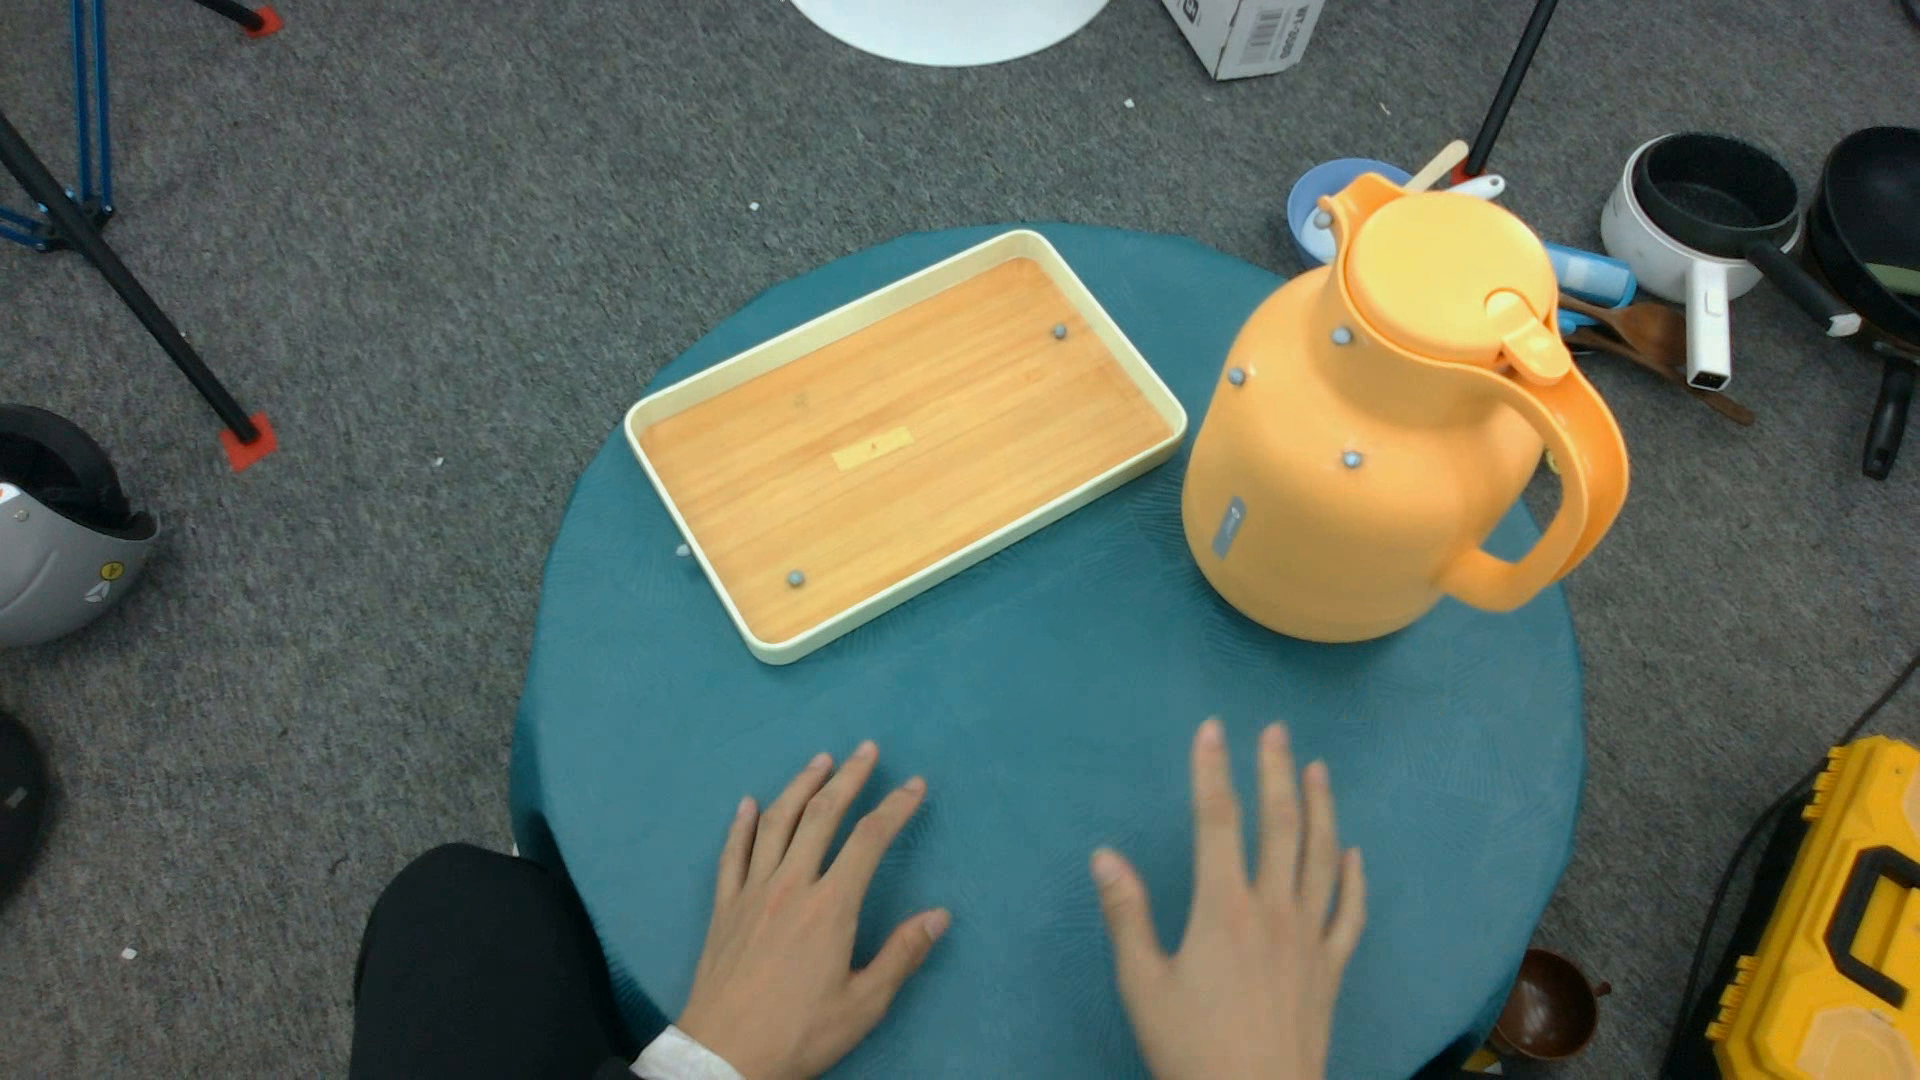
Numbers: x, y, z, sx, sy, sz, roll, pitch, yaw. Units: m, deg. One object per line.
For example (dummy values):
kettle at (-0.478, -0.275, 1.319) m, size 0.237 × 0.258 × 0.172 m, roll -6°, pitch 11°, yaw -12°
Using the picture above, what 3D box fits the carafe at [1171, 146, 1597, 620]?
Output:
carafe at (0.212, -0.060, 0.704) m, size 0.164 × 0.259 × 0.203 m, roll -29°, pitch 65°, yaw -13°

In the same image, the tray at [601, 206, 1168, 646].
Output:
tray at (-0.044, -0.079, 0.834) m, size 0.301 × 0.027 × 0.192 m, roll -28°, pitch 67°, yaw -16°
